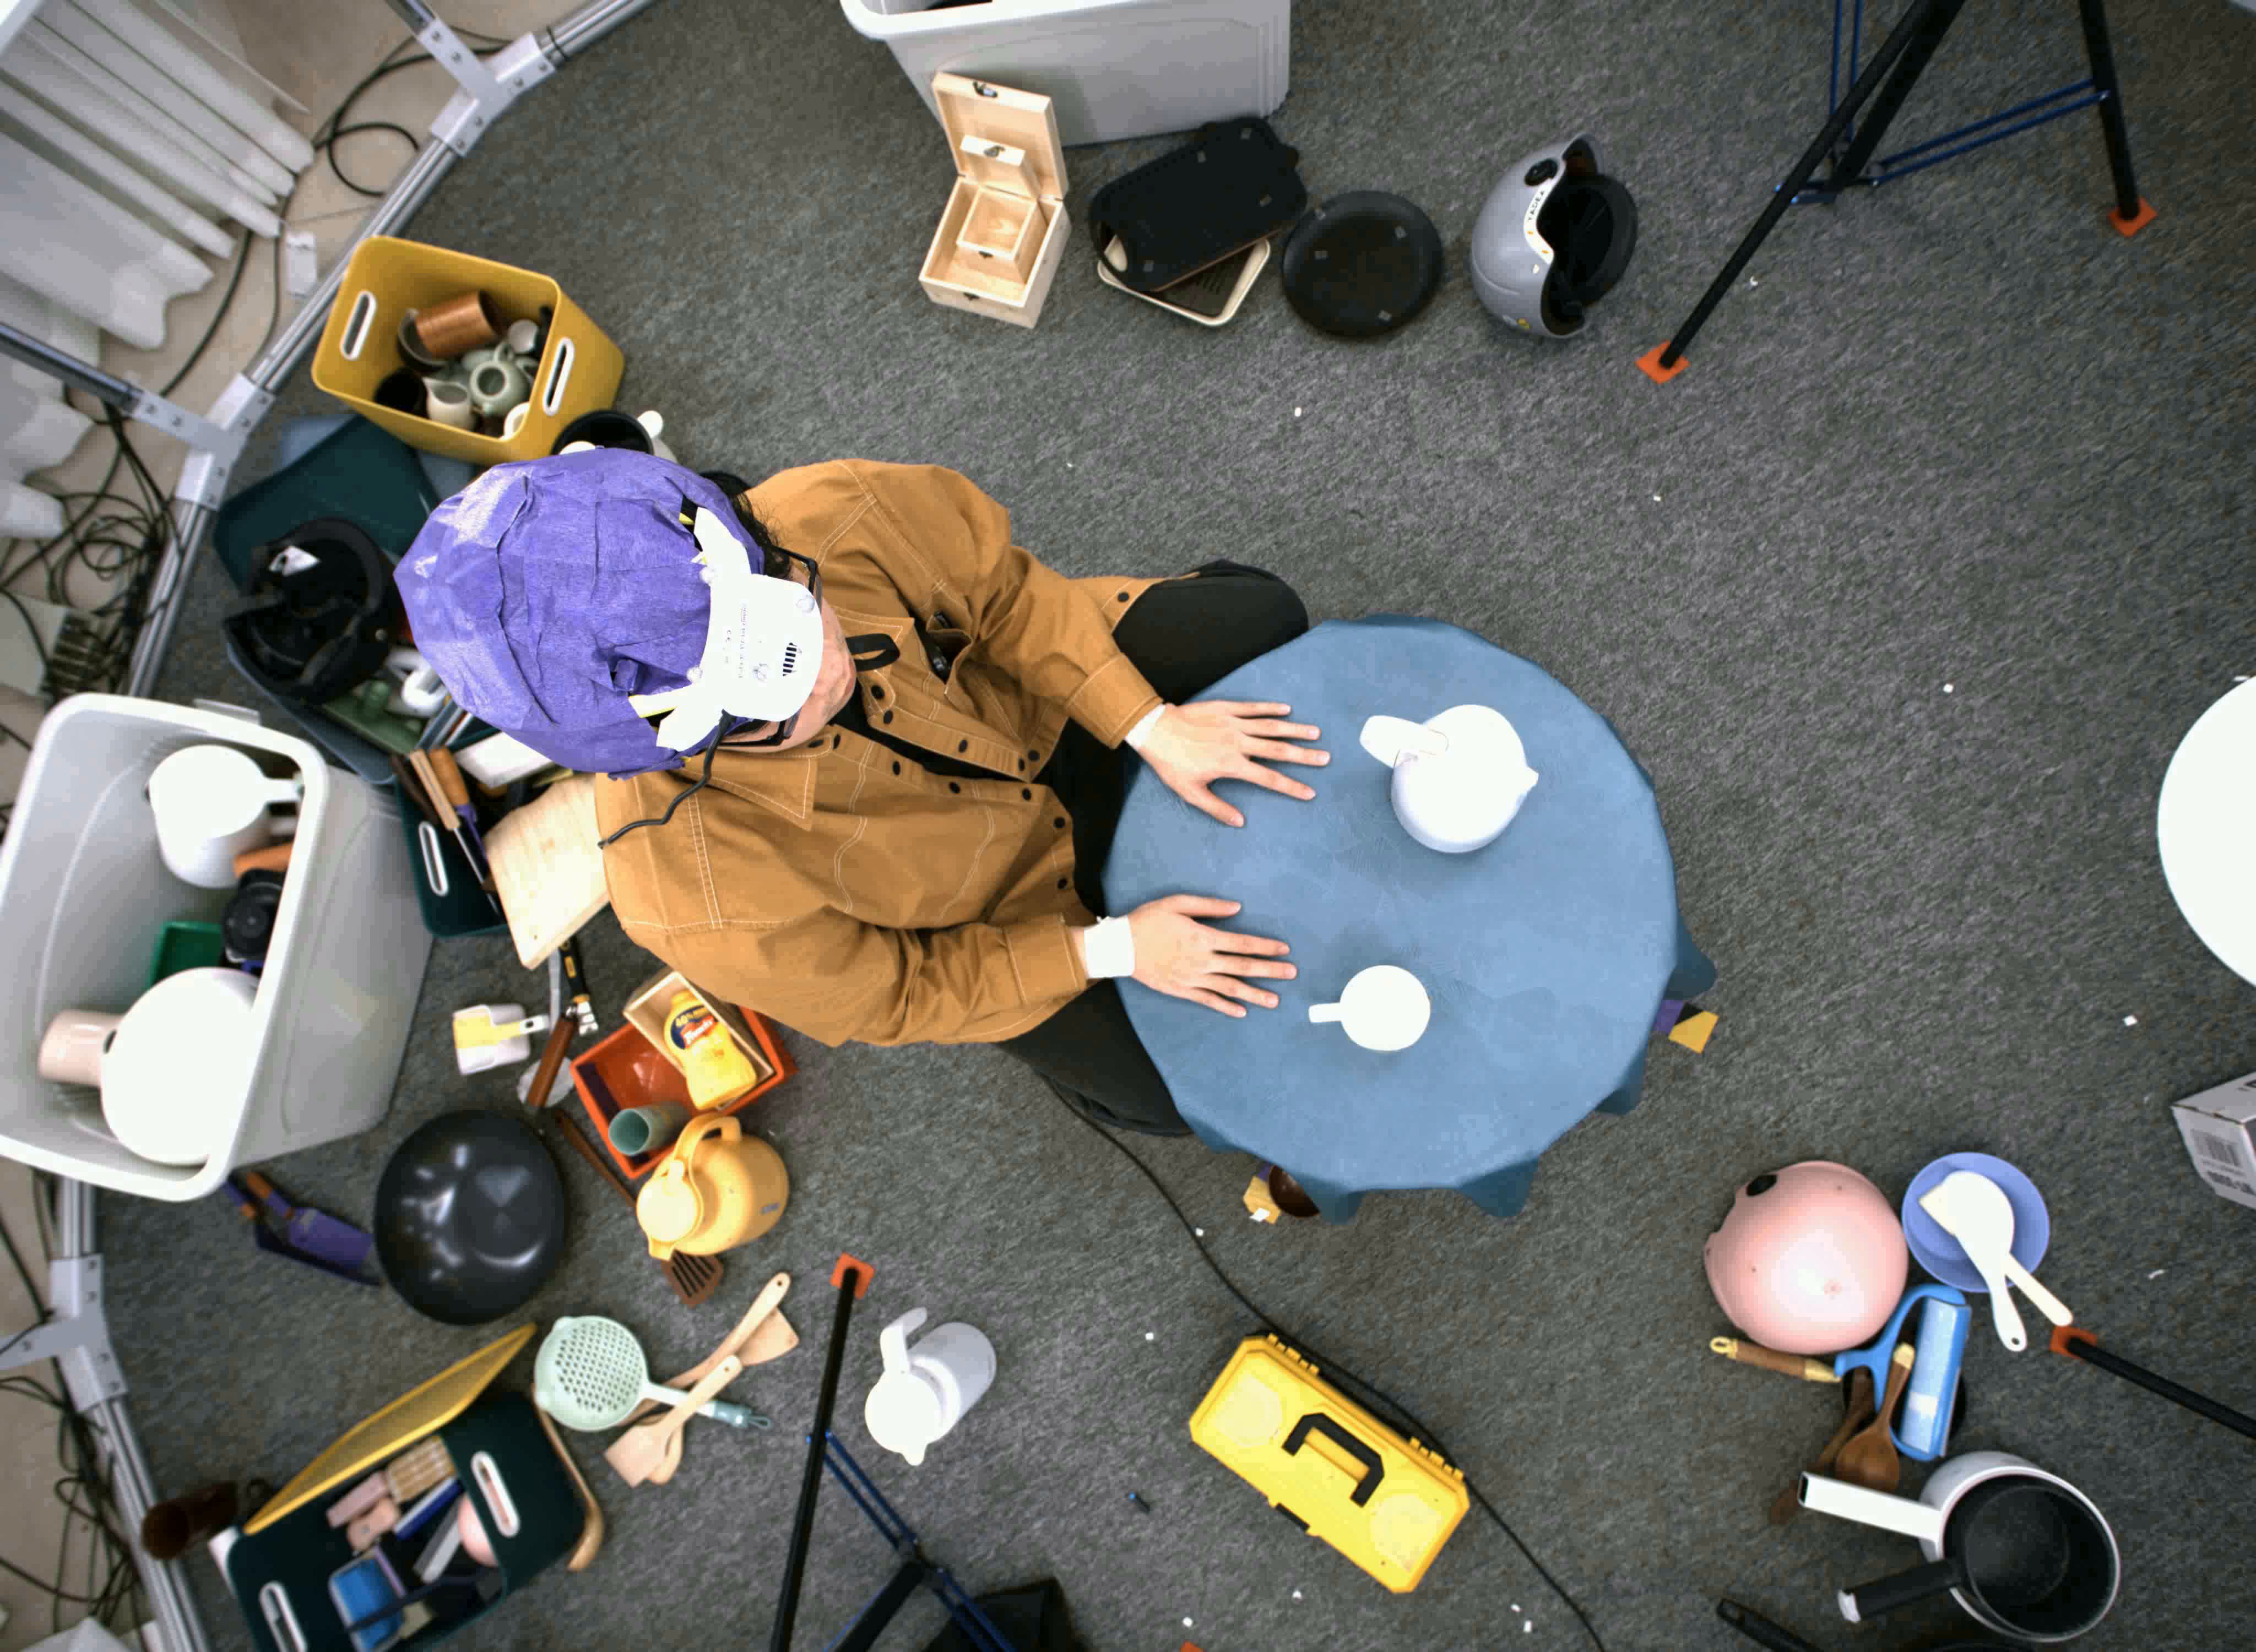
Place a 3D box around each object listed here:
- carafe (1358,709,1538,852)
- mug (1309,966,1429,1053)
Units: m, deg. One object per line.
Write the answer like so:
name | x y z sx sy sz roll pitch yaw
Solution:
carafe | 0.305 -0.056 1.335 0.167 0.248 0.132 22 90 12
mug | 0.244 0.185 1.408 0.119 0.102 0.084 -7 84 10
